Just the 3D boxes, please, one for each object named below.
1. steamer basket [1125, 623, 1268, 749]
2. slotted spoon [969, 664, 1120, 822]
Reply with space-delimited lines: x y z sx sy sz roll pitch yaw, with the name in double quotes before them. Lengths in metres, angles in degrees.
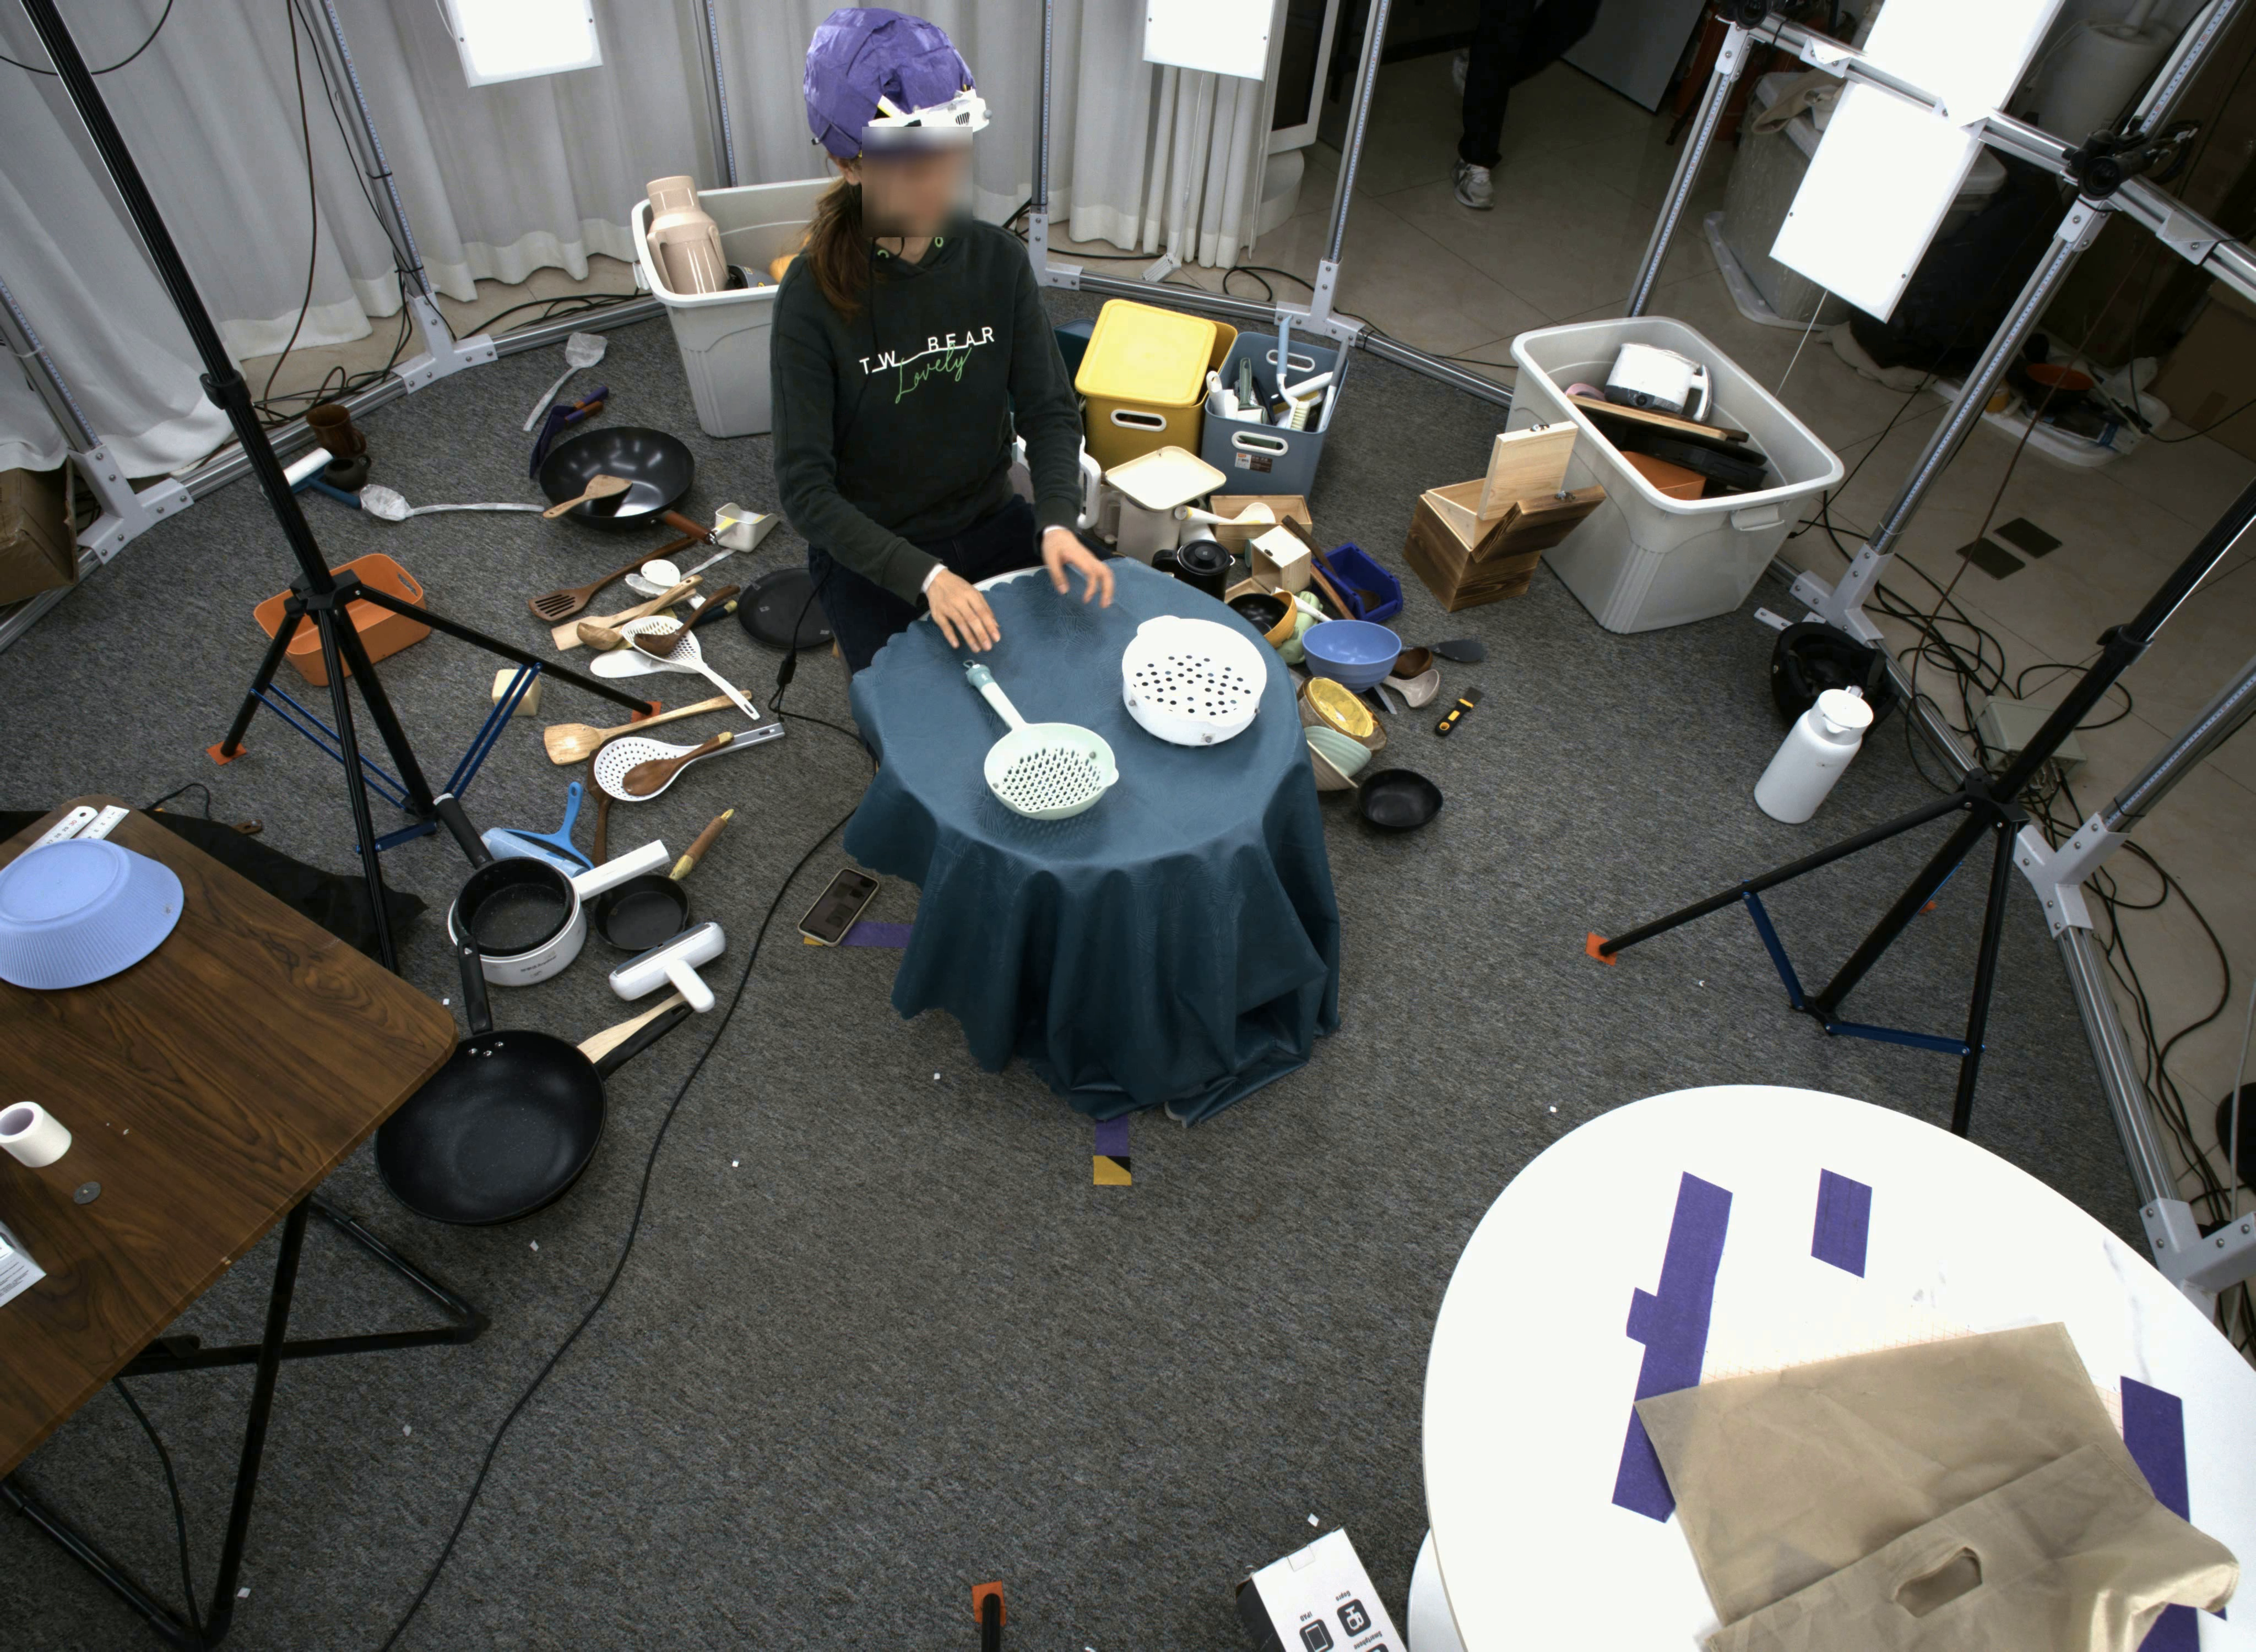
"steamer basket" 0.094 -0.196 1.820 0.202 0.067 0.235 -22 53 -22
"slotted spoon" -0.145 -0.129 1.745 0.169 0.073 0.367 -19 53 -19
